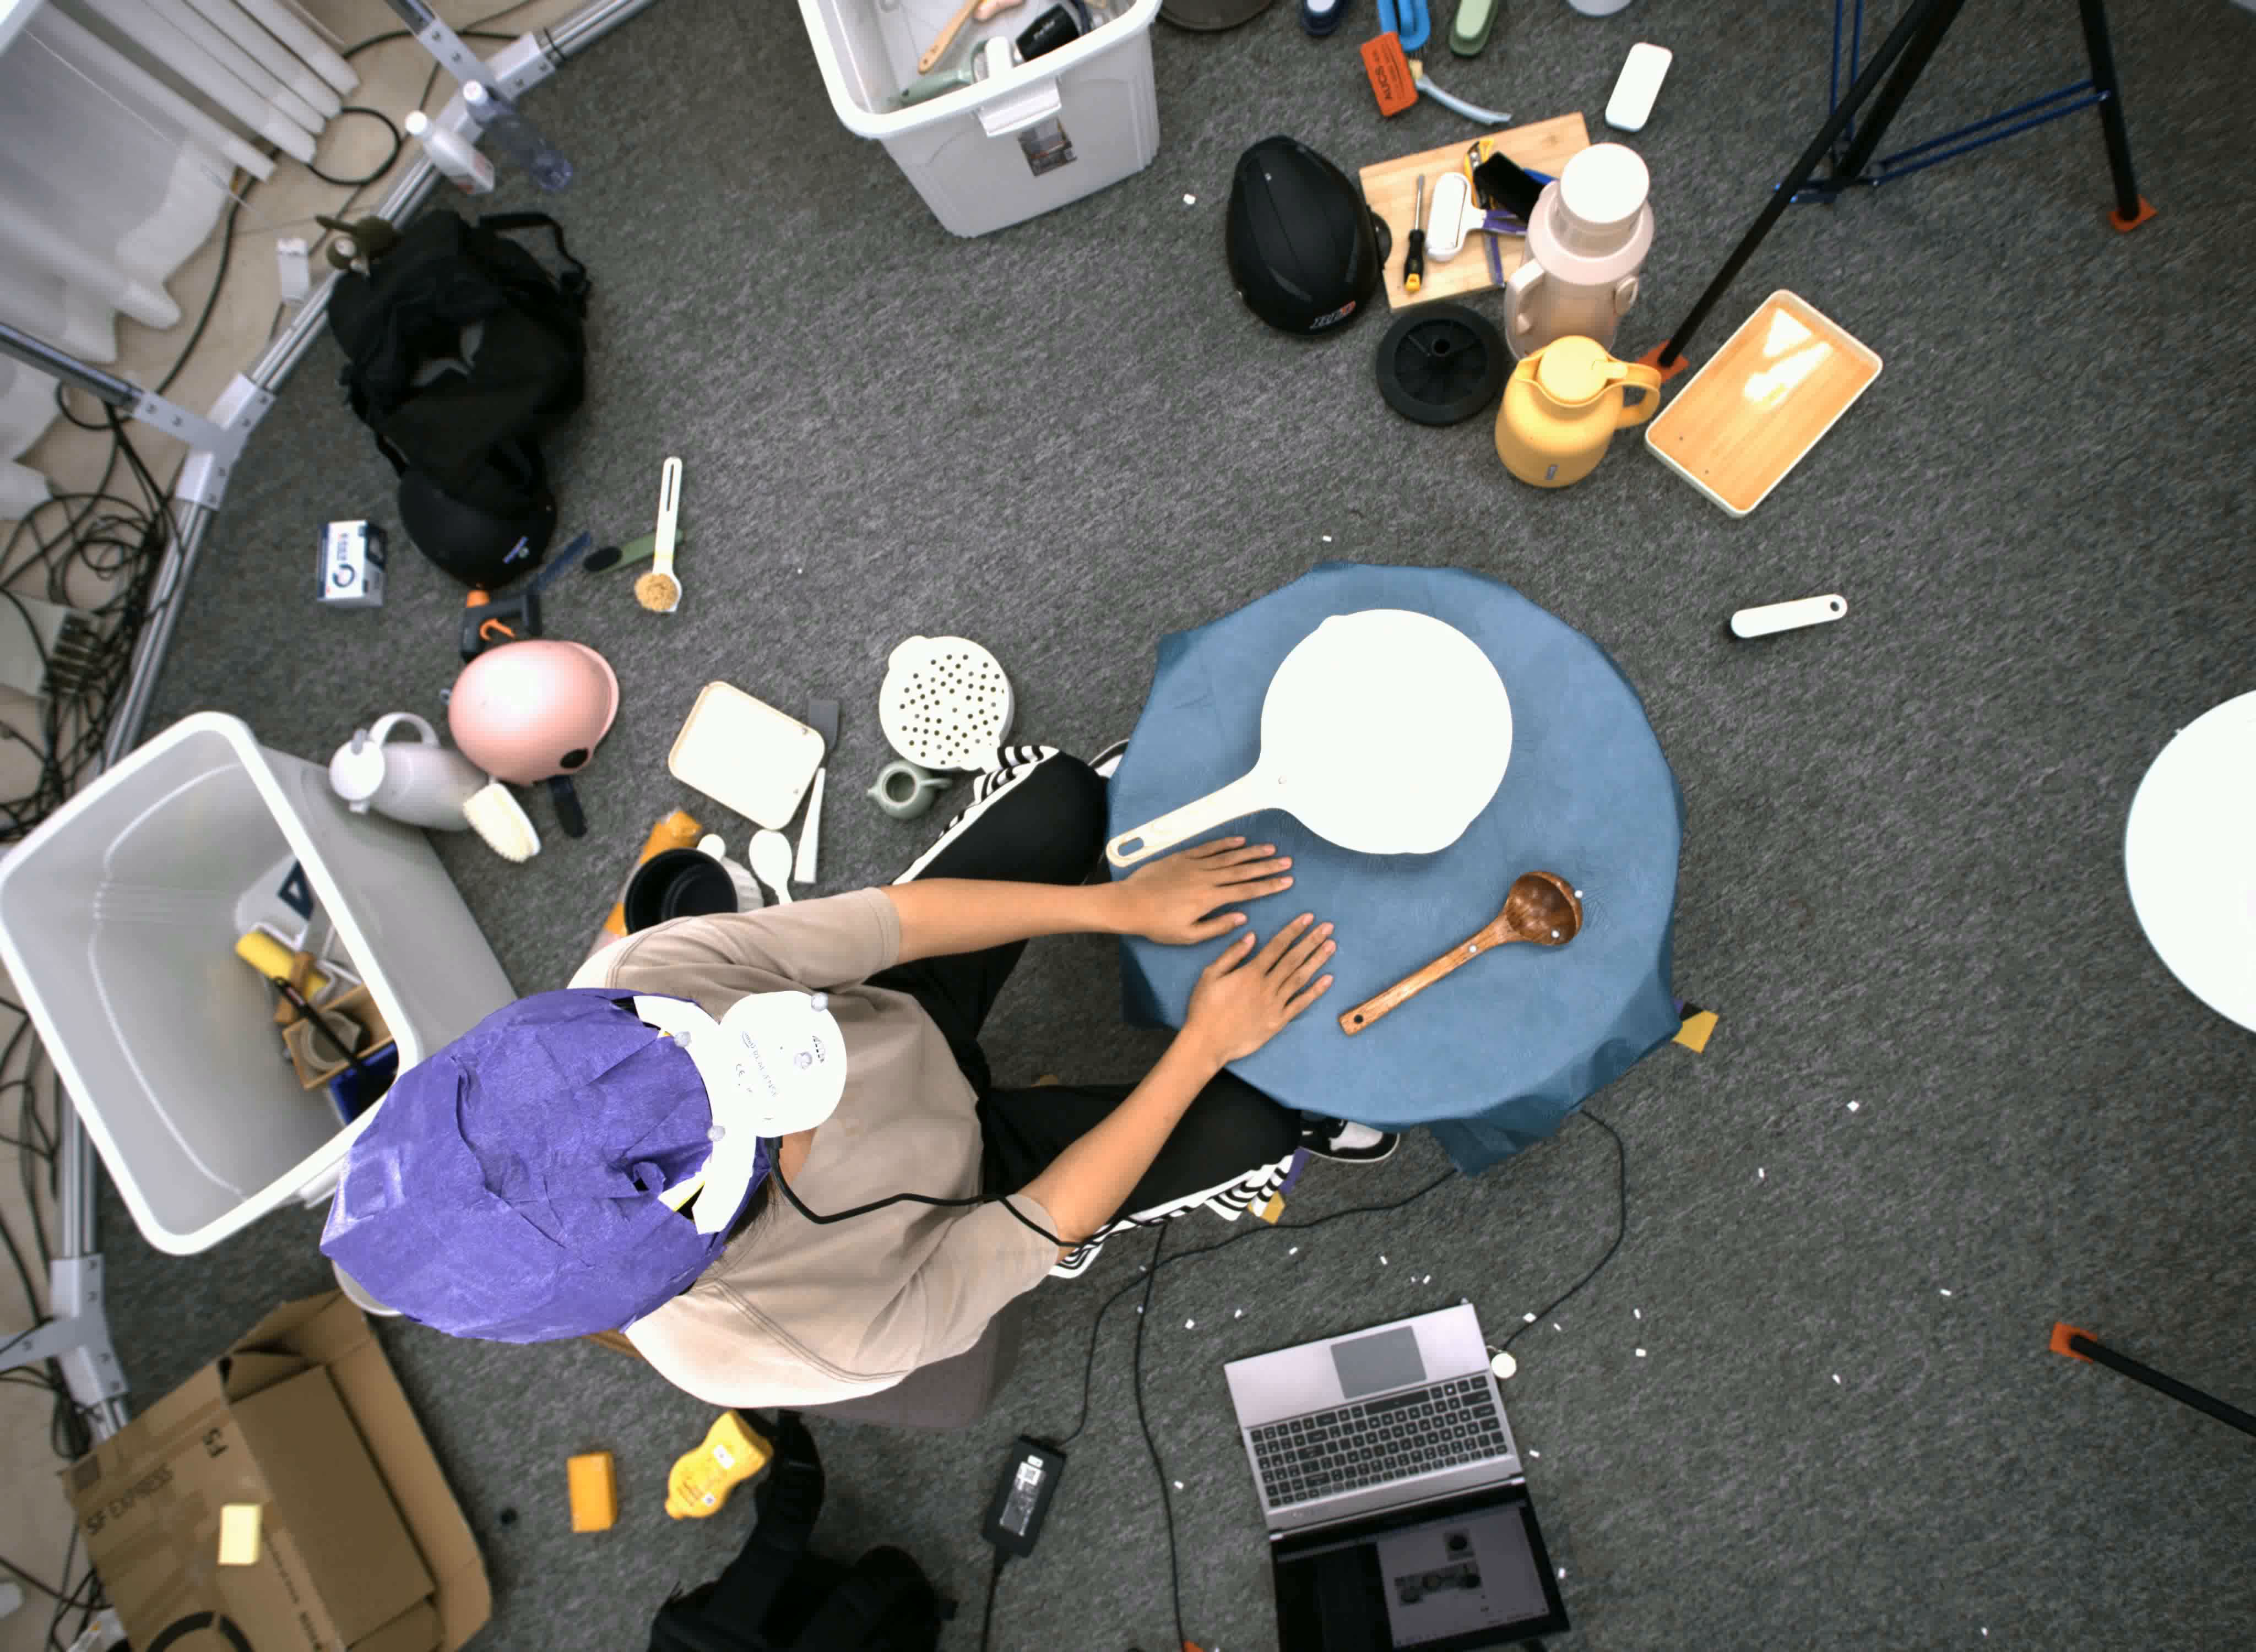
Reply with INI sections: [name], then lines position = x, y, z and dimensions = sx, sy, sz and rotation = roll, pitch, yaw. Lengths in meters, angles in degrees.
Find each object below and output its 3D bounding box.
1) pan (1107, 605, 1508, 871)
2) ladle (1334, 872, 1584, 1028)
[pan]
position = 0.180, -0.059, 1.436
dimensions = 0.437, 0.102, 0.262
rotation = -26, 84, 8
[ladle]
position = 0.335, 0.136, 1.405
dimensions = 0.275, 0.076, 0.081
rotation = -30, 84, 7
